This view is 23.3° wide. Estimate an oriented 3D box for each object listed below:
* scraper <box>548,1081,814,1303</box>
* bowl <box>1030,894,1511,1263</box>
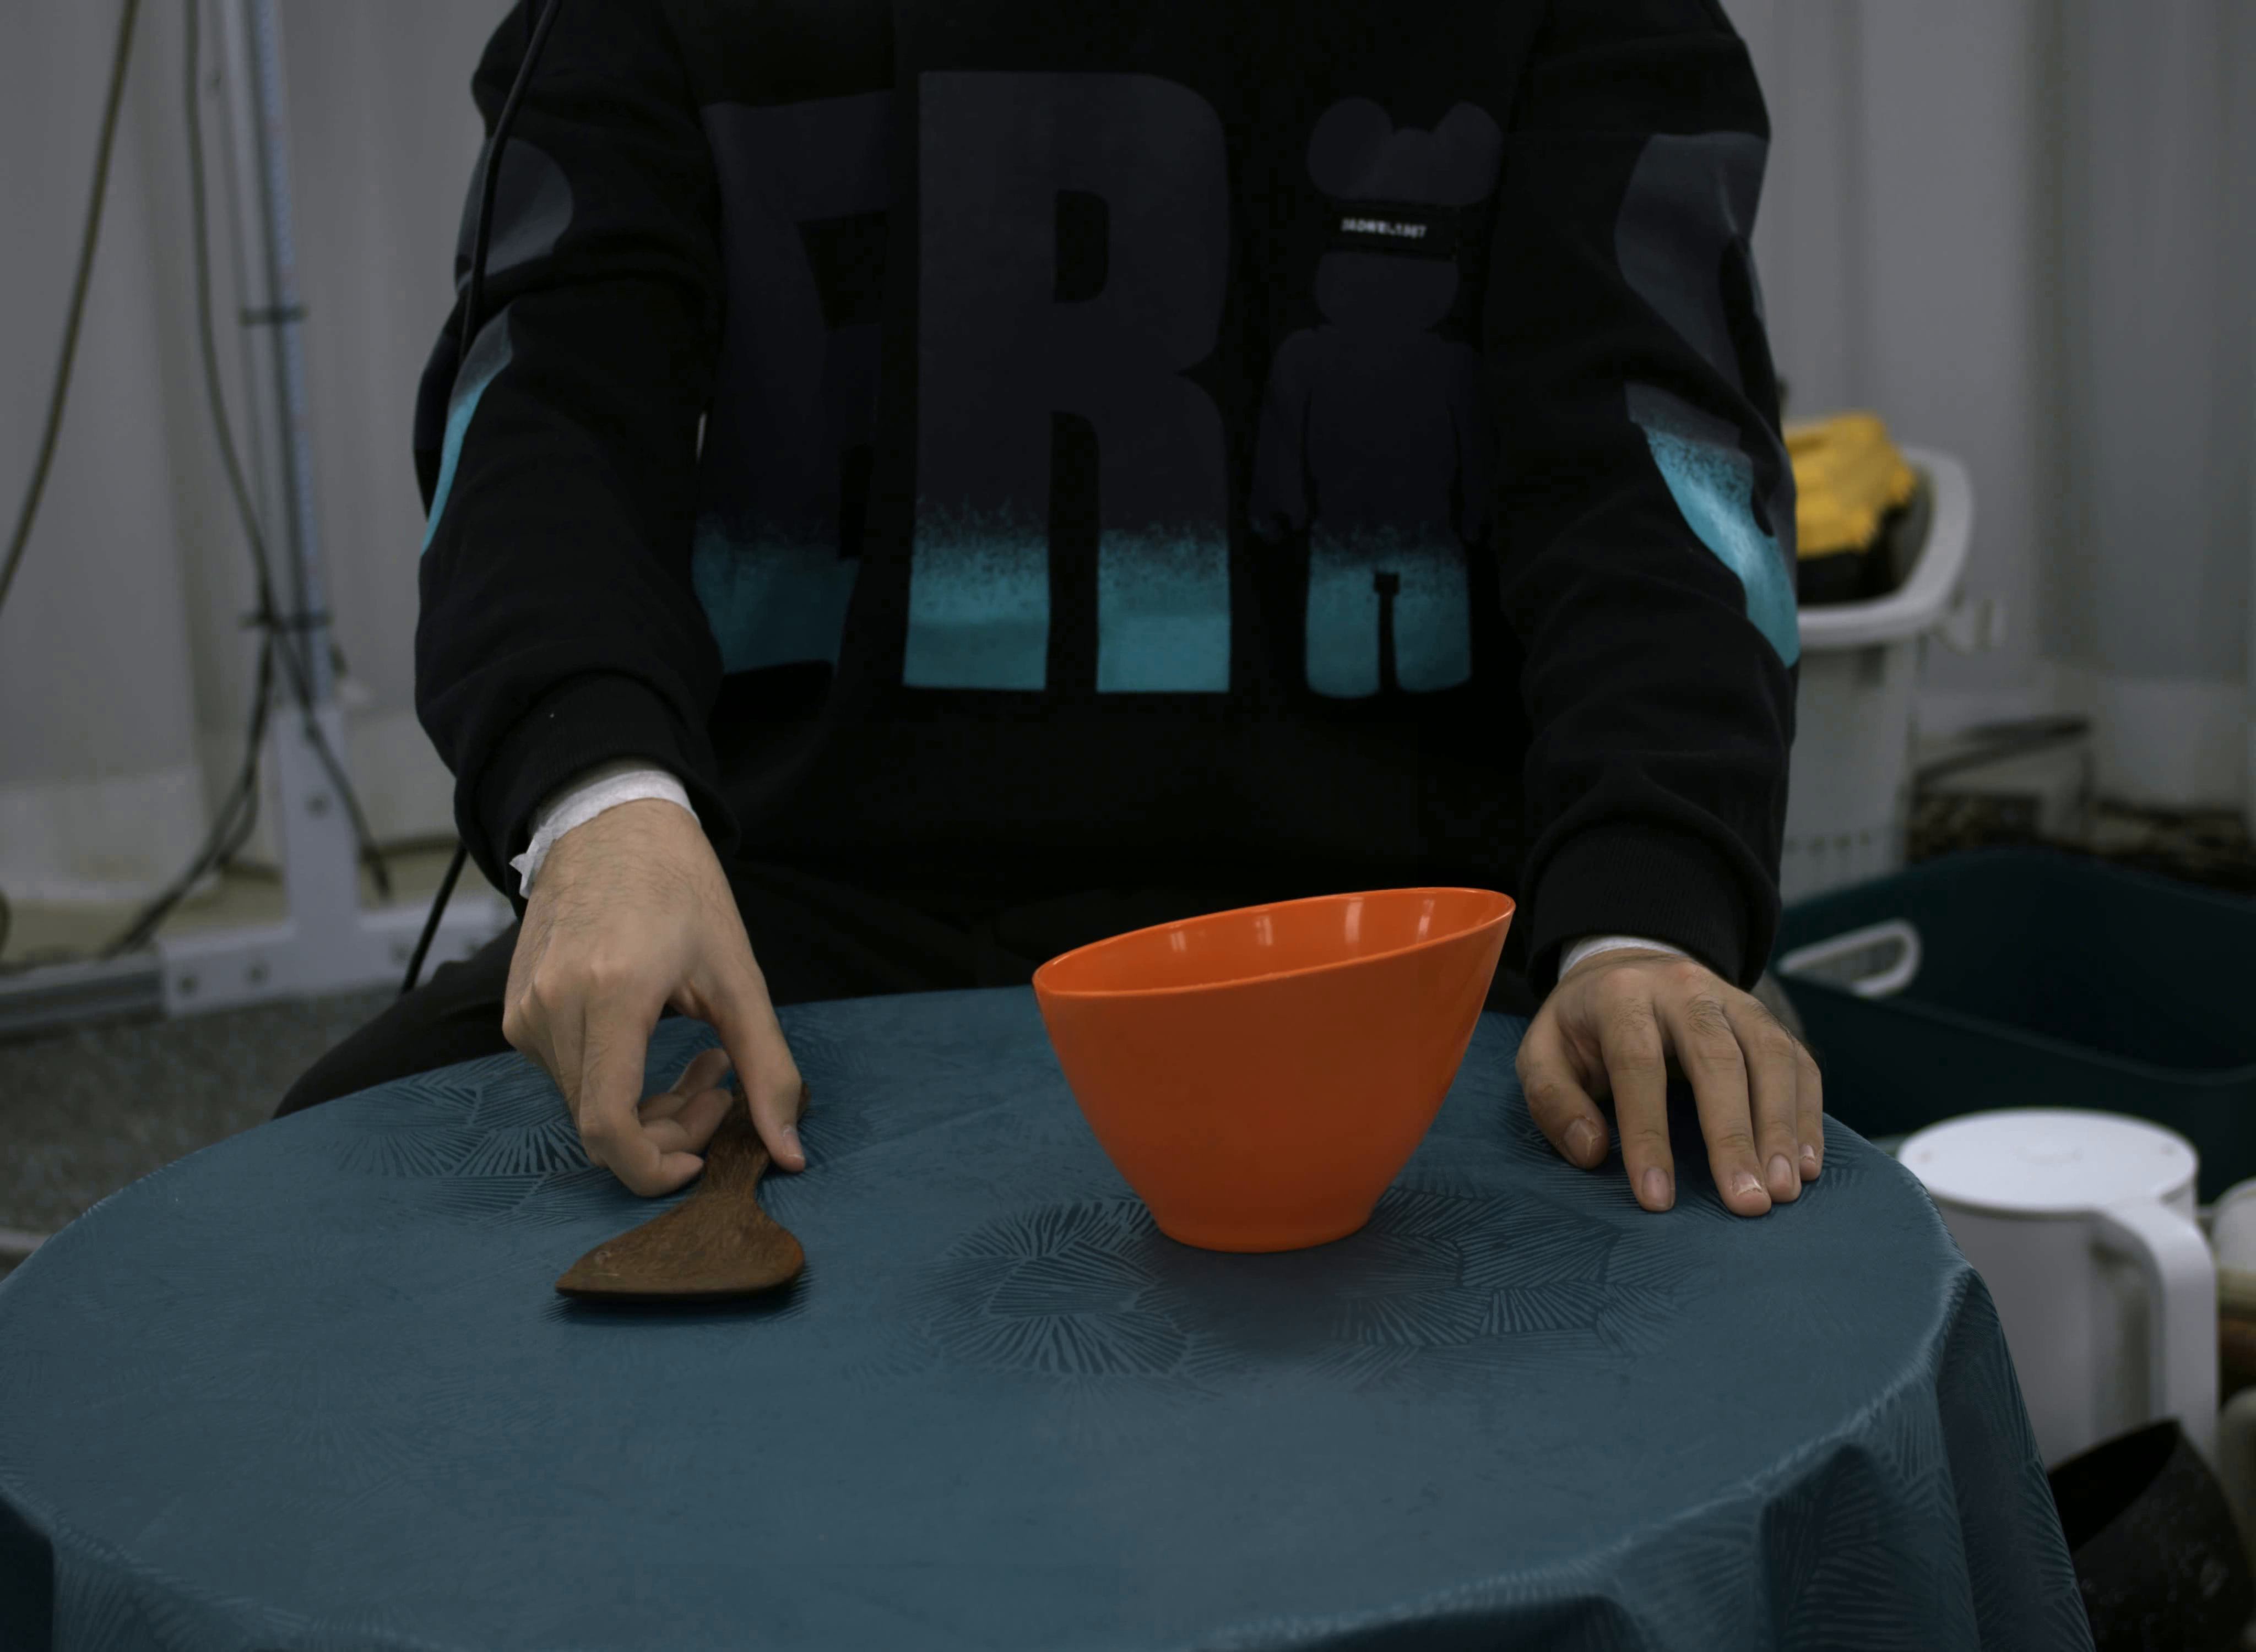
[{"bbox_3d":[-0.127,0.115,1.721,0.075,0.011,0.212,0,15,6],"label":"scraper"},{"bbox_3d":[0.045,0.076,1.662,0.147,0.104,0.149,-4,13,1],"label":"bowl"}]
